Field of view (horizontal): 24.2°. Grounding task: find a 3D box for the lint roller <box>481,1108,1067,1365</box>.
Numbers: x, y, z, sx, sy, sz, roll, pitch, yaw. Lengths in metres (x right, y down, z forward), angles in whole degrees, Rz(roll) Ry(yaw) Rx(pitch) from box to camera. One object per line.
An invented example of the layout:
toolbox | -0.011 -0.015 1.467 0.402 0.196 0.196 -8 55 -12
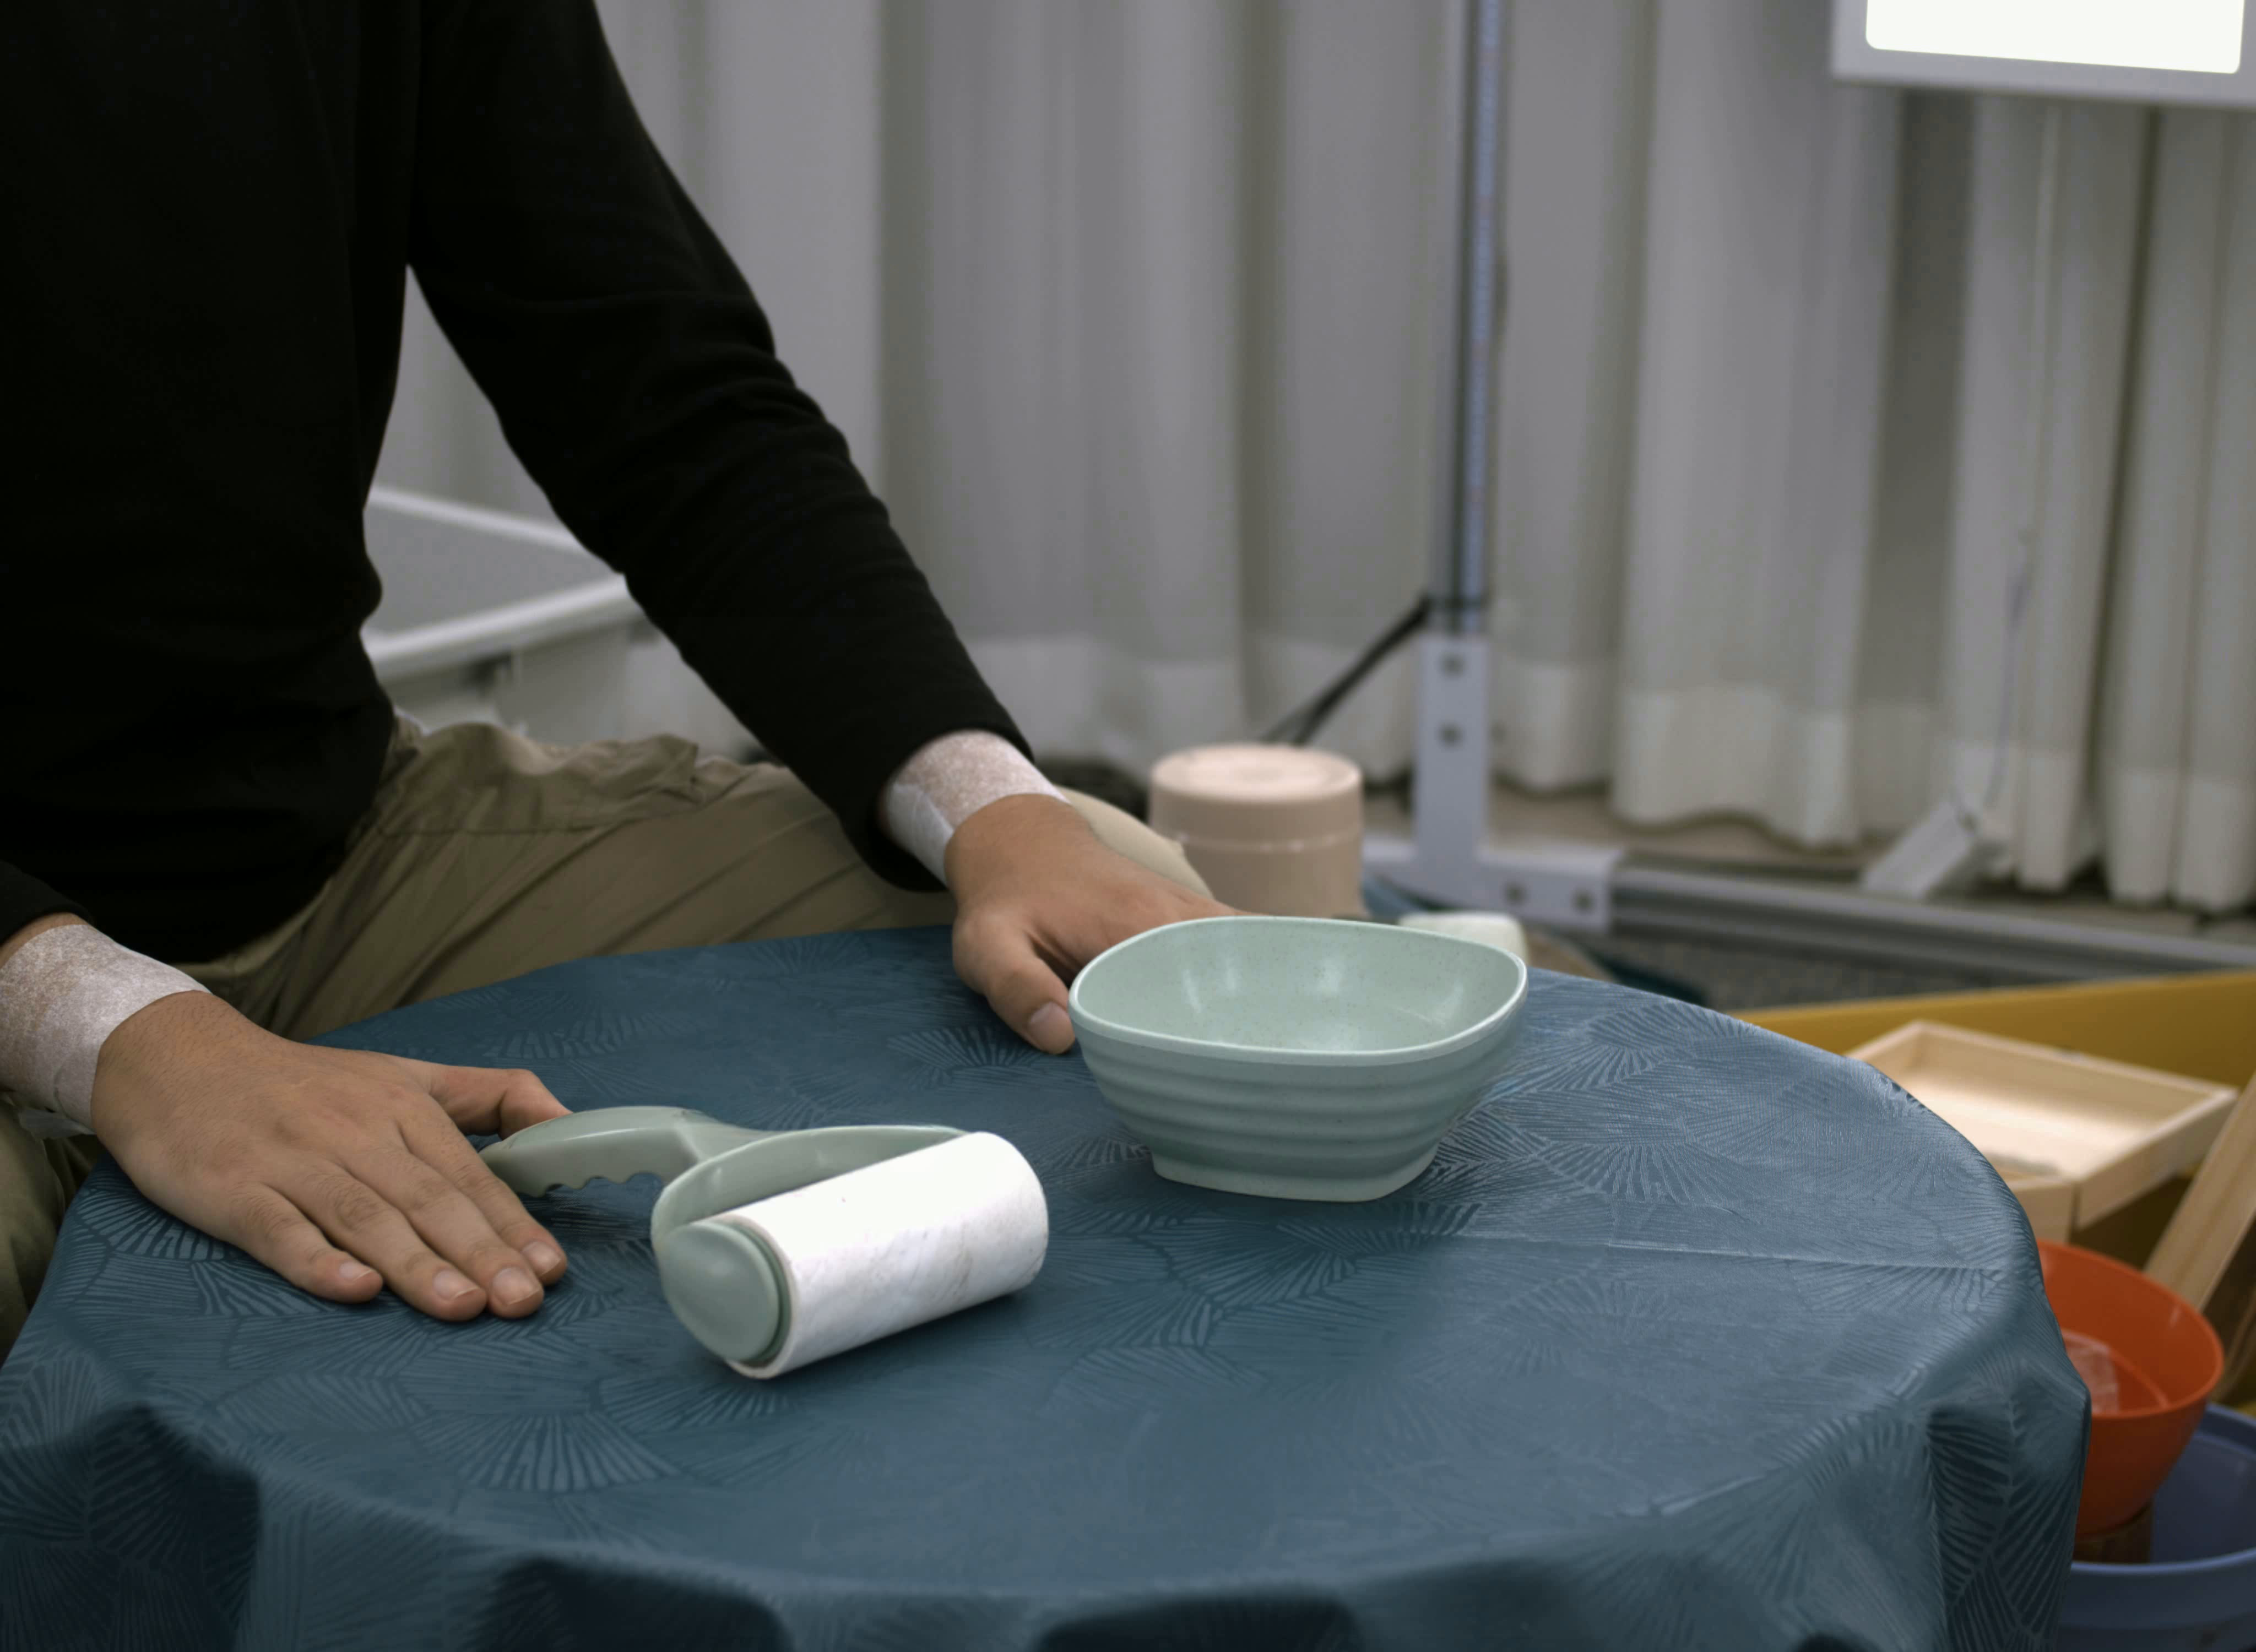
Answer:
lint roller | -0.120 0.107 1.550 0.195 0.049 0.117 13 21 42

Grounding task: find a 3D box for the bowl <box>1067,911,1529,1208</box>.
bowl | 0.053 0.076 1.648 0.151 0.059 0.150 2 17 0
